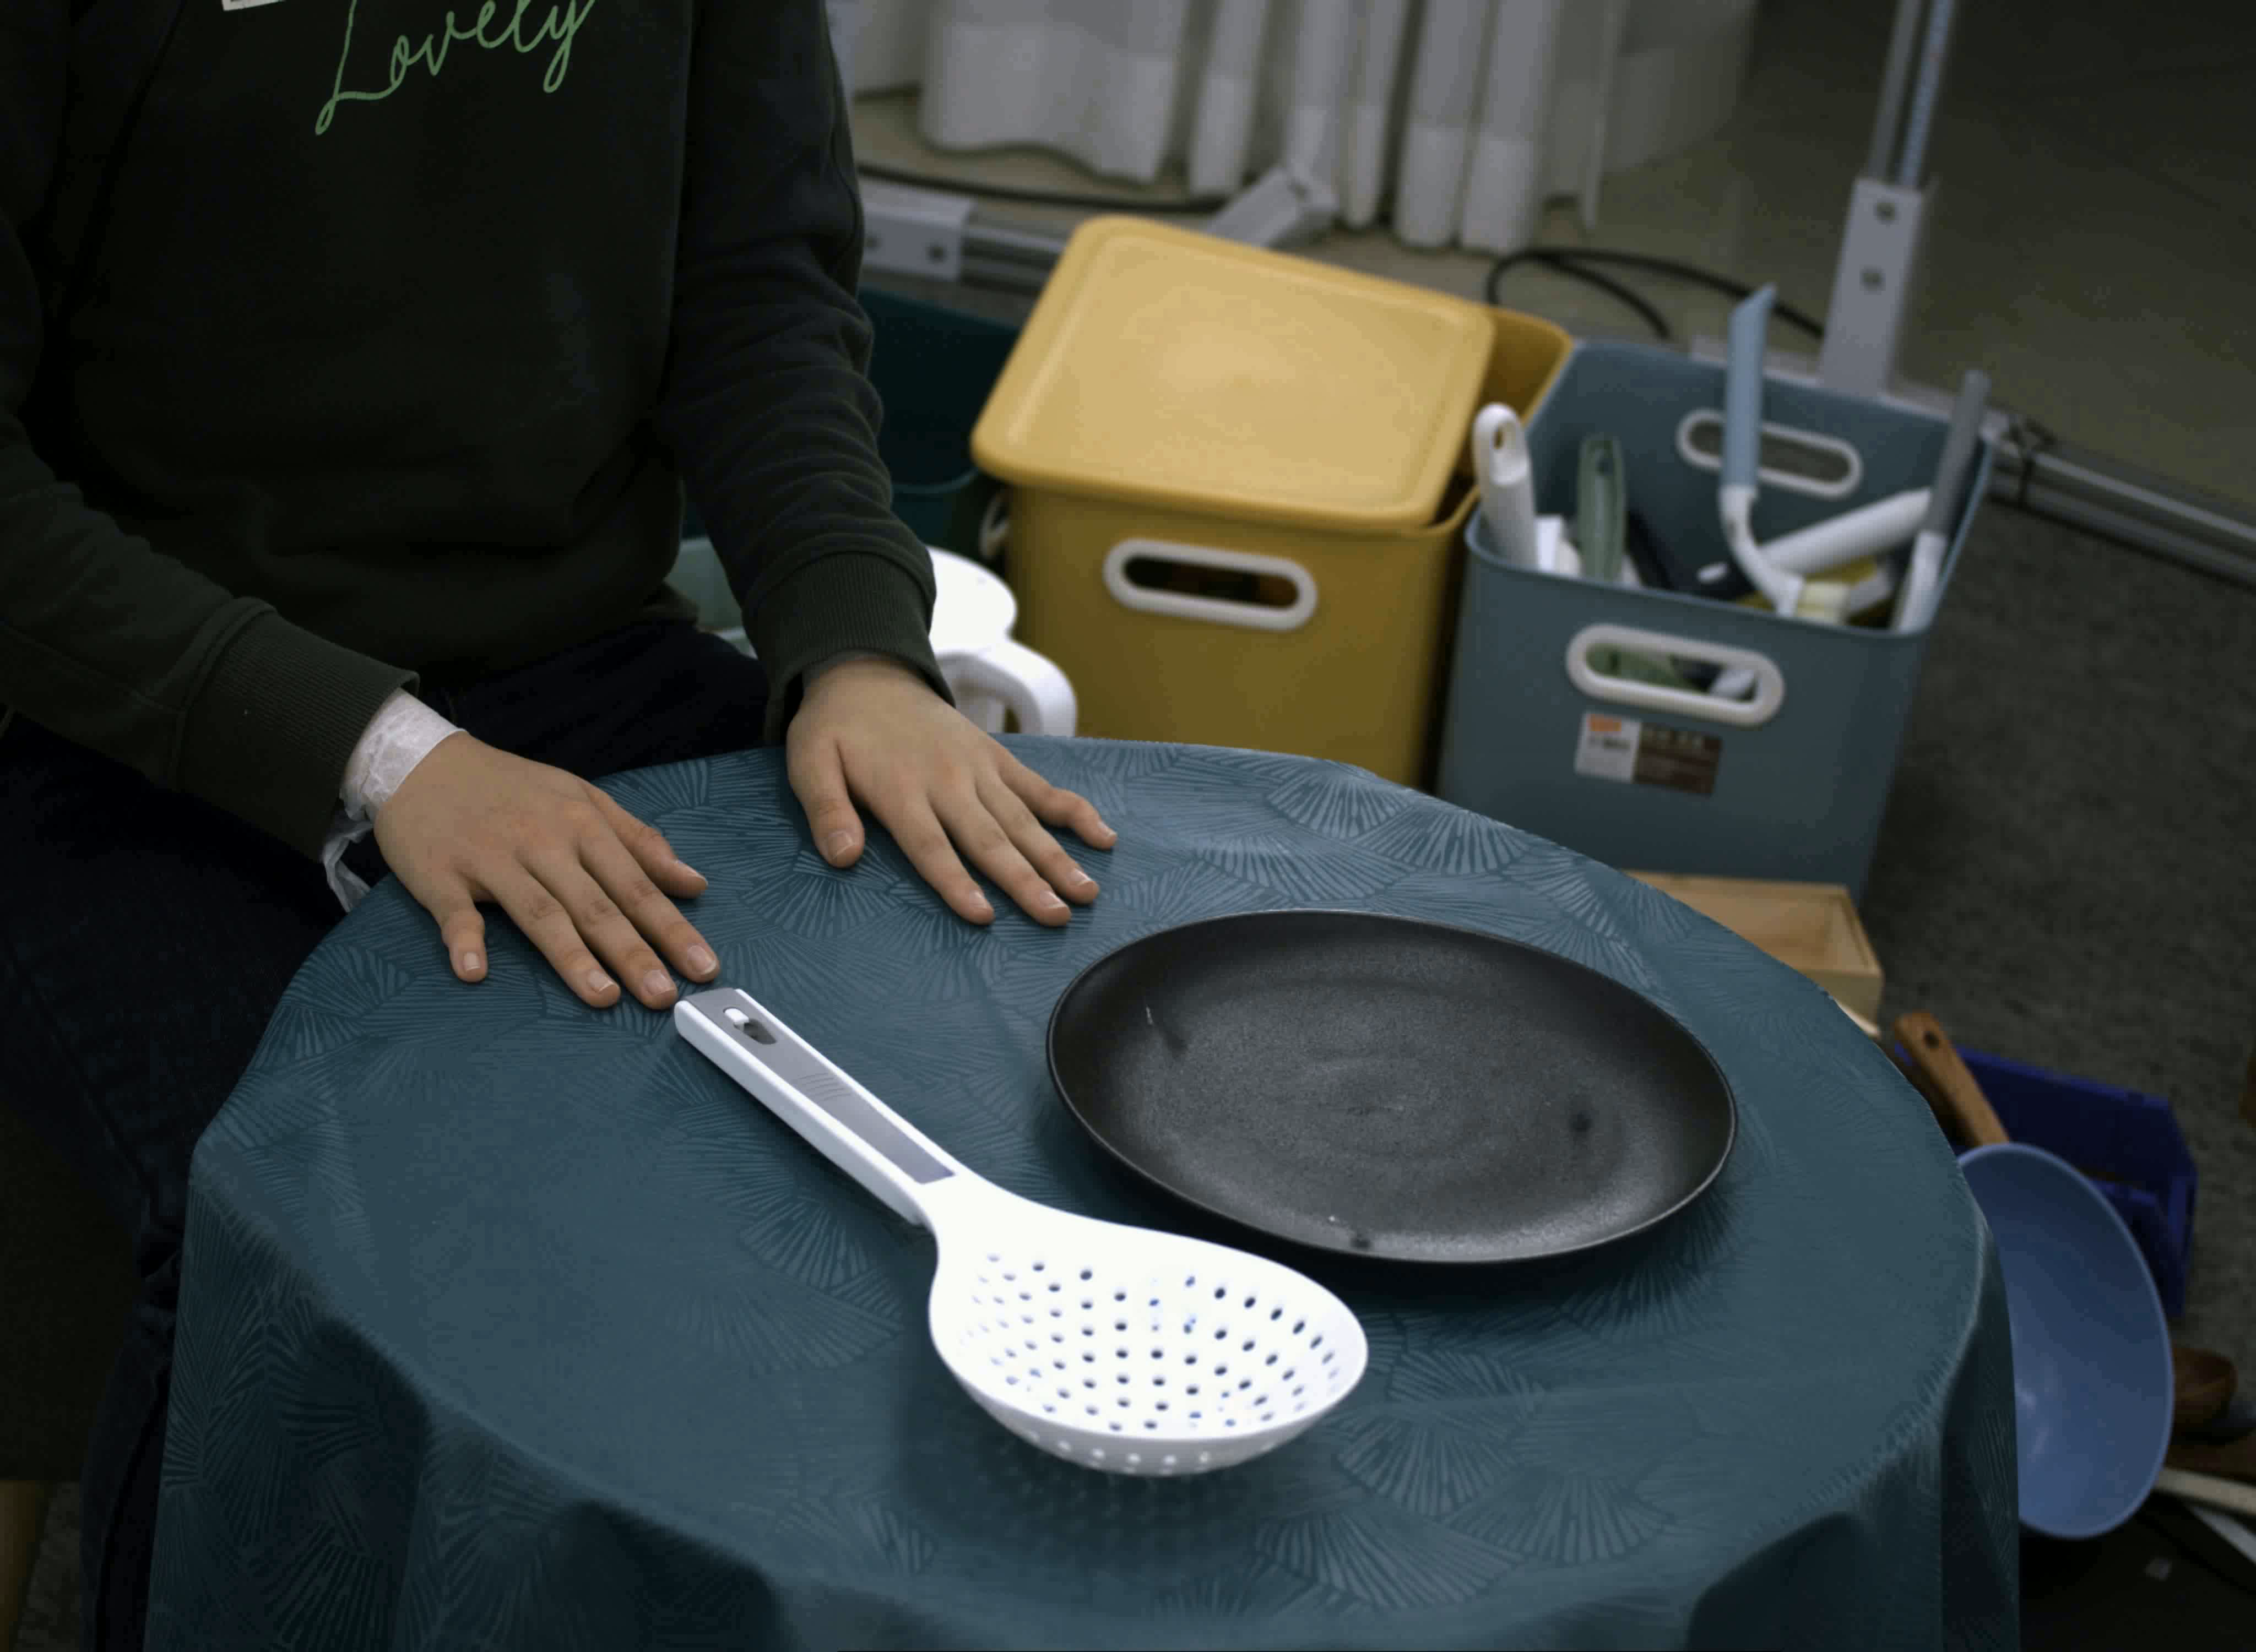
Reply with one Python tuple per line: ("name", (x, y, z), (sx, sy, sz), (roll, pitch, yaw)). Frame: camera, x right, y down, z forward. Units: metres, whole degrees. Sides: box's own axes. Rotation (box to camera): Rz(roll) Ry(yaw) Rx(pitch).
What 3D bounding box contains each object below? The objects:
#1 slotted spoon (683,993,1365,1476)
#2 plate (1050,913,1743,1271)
("slotted spoon", (-0.053, 0.126, 1.732), (0.135, 0.045, 0.353), (-9, 29, -32))
("plate", (0.092, 0.096, 1.849), (0.243, 0.023, 0.246), (5, 26, -3))
